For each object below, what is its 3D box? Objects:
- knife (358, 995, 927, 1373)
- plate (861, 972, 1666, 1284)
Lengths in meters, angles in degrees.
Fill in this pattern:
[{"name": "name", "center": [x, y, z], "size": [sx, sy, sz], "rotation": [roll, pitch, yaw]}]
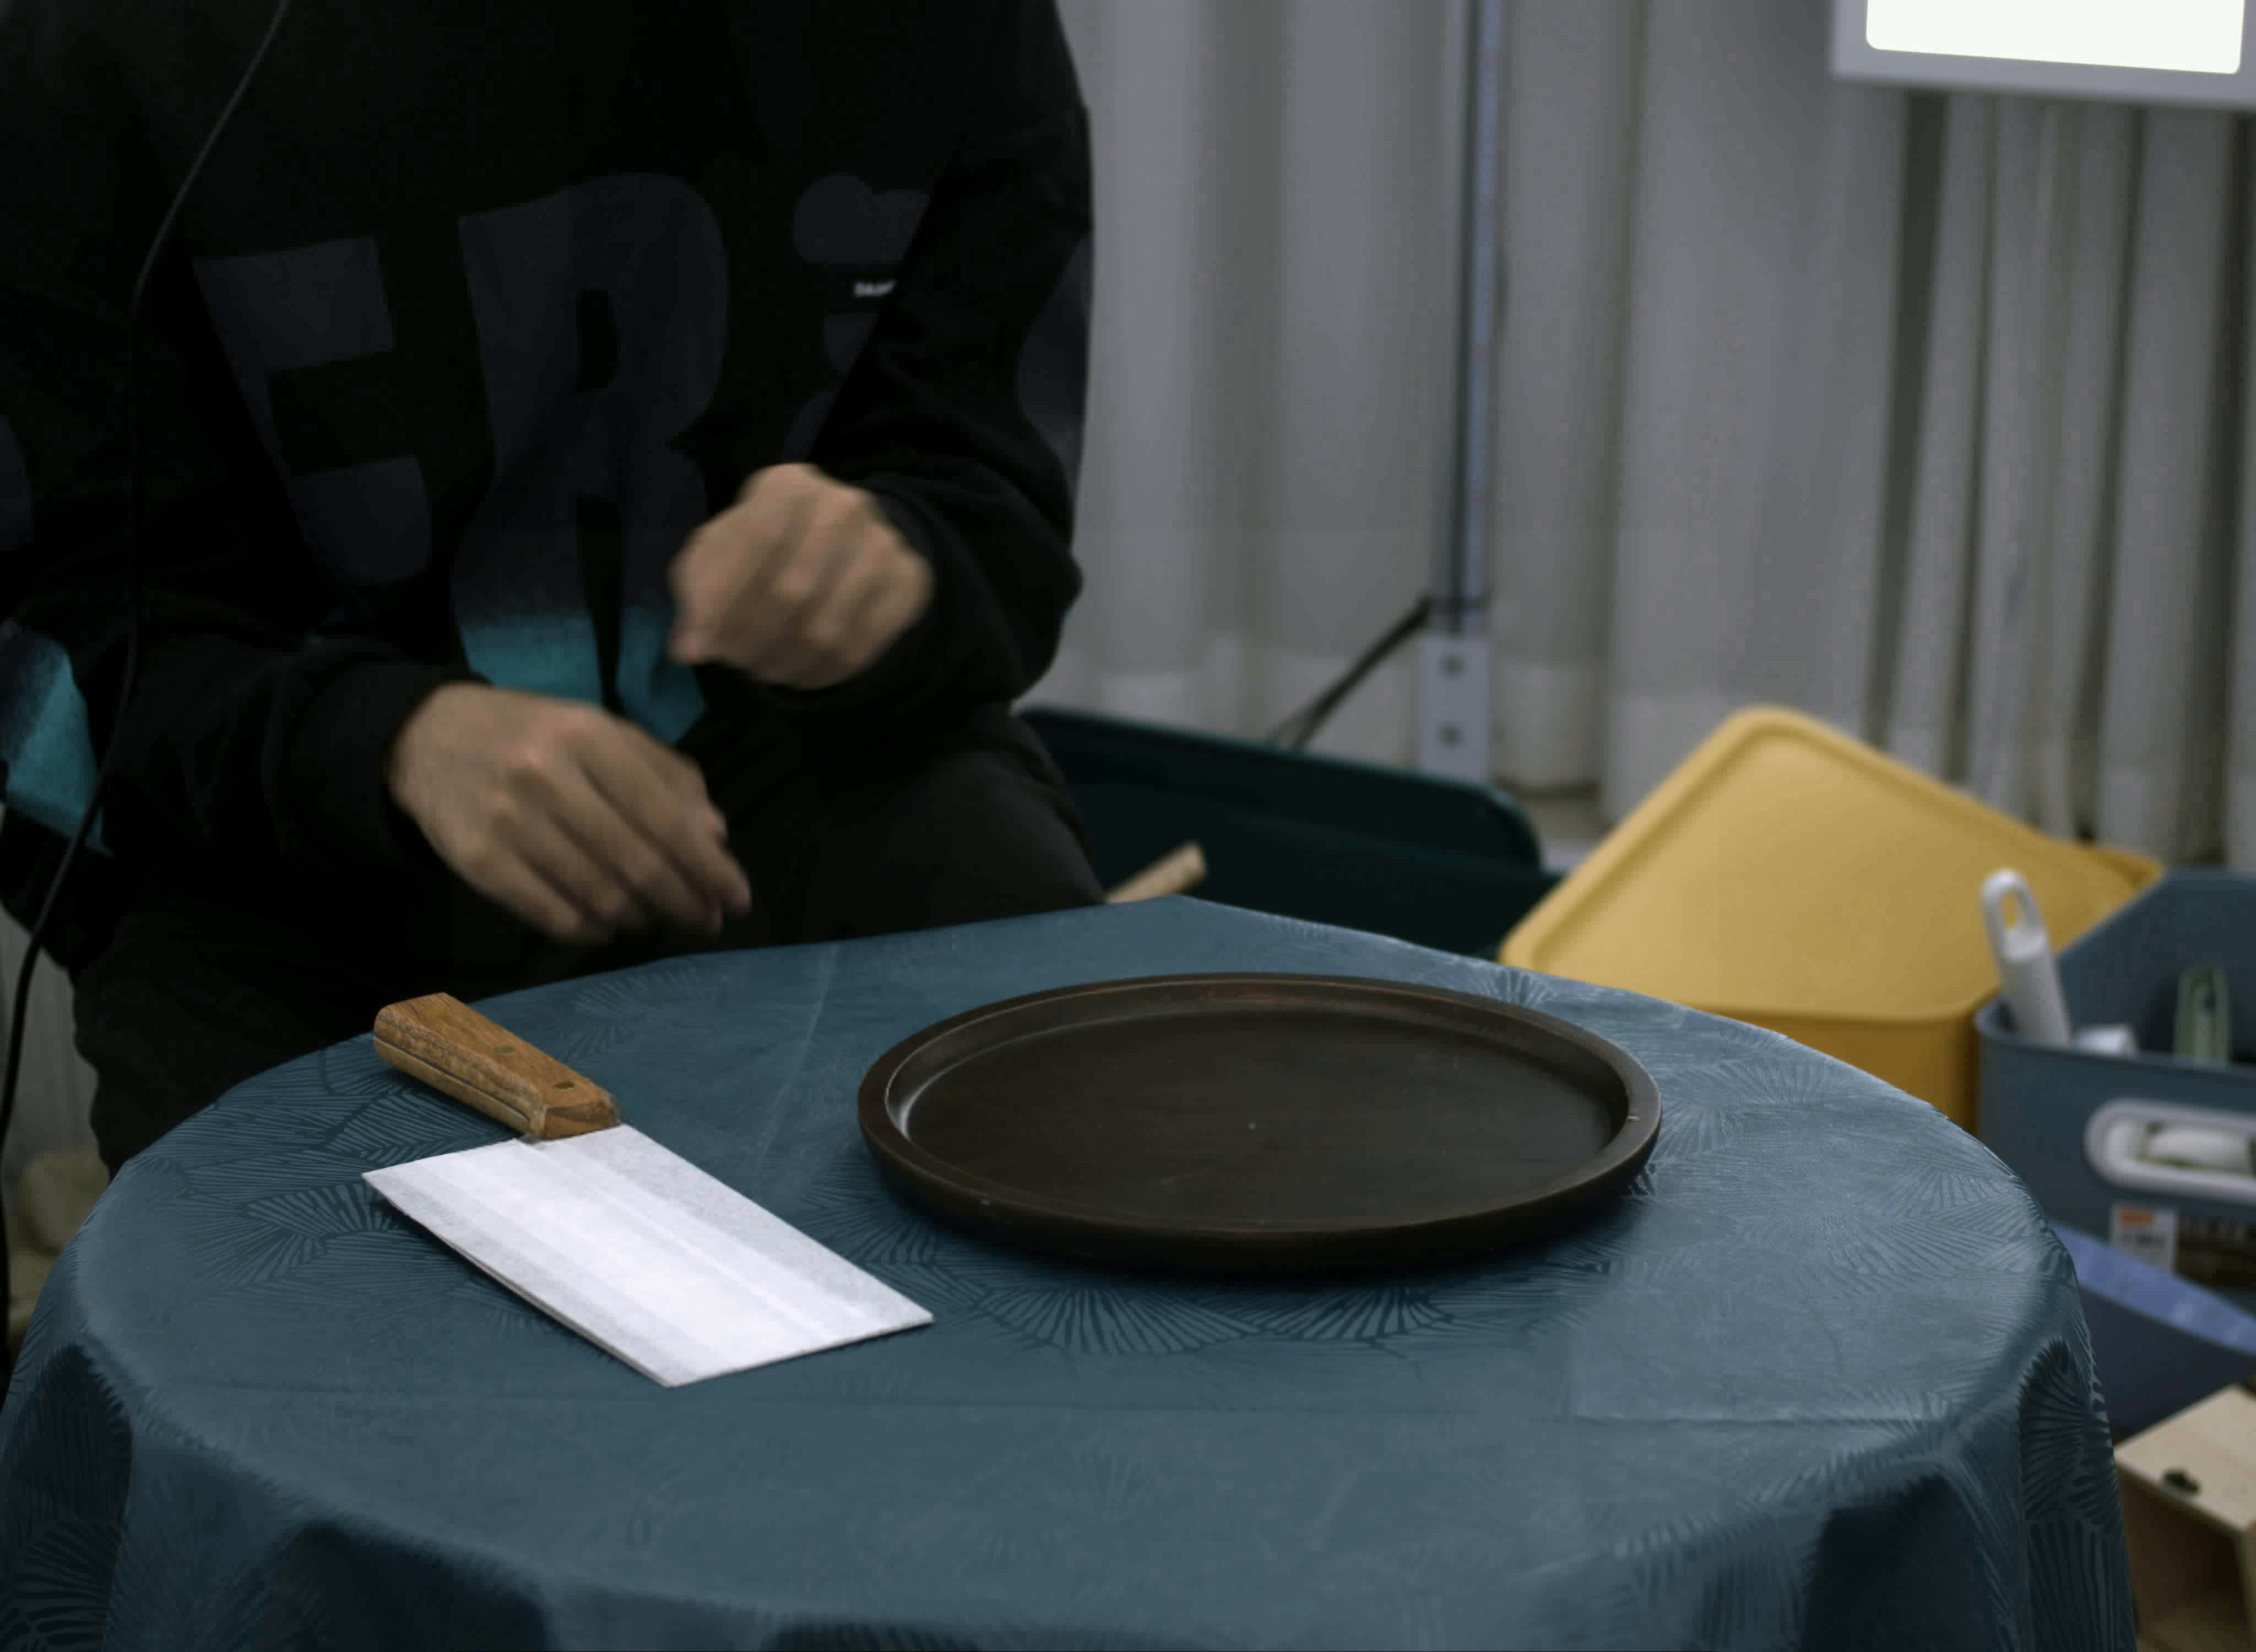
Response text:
[{"name": "knife", "center": [-0.176, 0.109, 1.603], "size": [0.093, 0.021, 0.301], "rotation": [-12, 22, -33]}, {"name": "plate", "center": [0.042, 0.092, 1.650], "size": [0.254, 0.029, 0.253], "rotation": [2, 16, 0]}]
